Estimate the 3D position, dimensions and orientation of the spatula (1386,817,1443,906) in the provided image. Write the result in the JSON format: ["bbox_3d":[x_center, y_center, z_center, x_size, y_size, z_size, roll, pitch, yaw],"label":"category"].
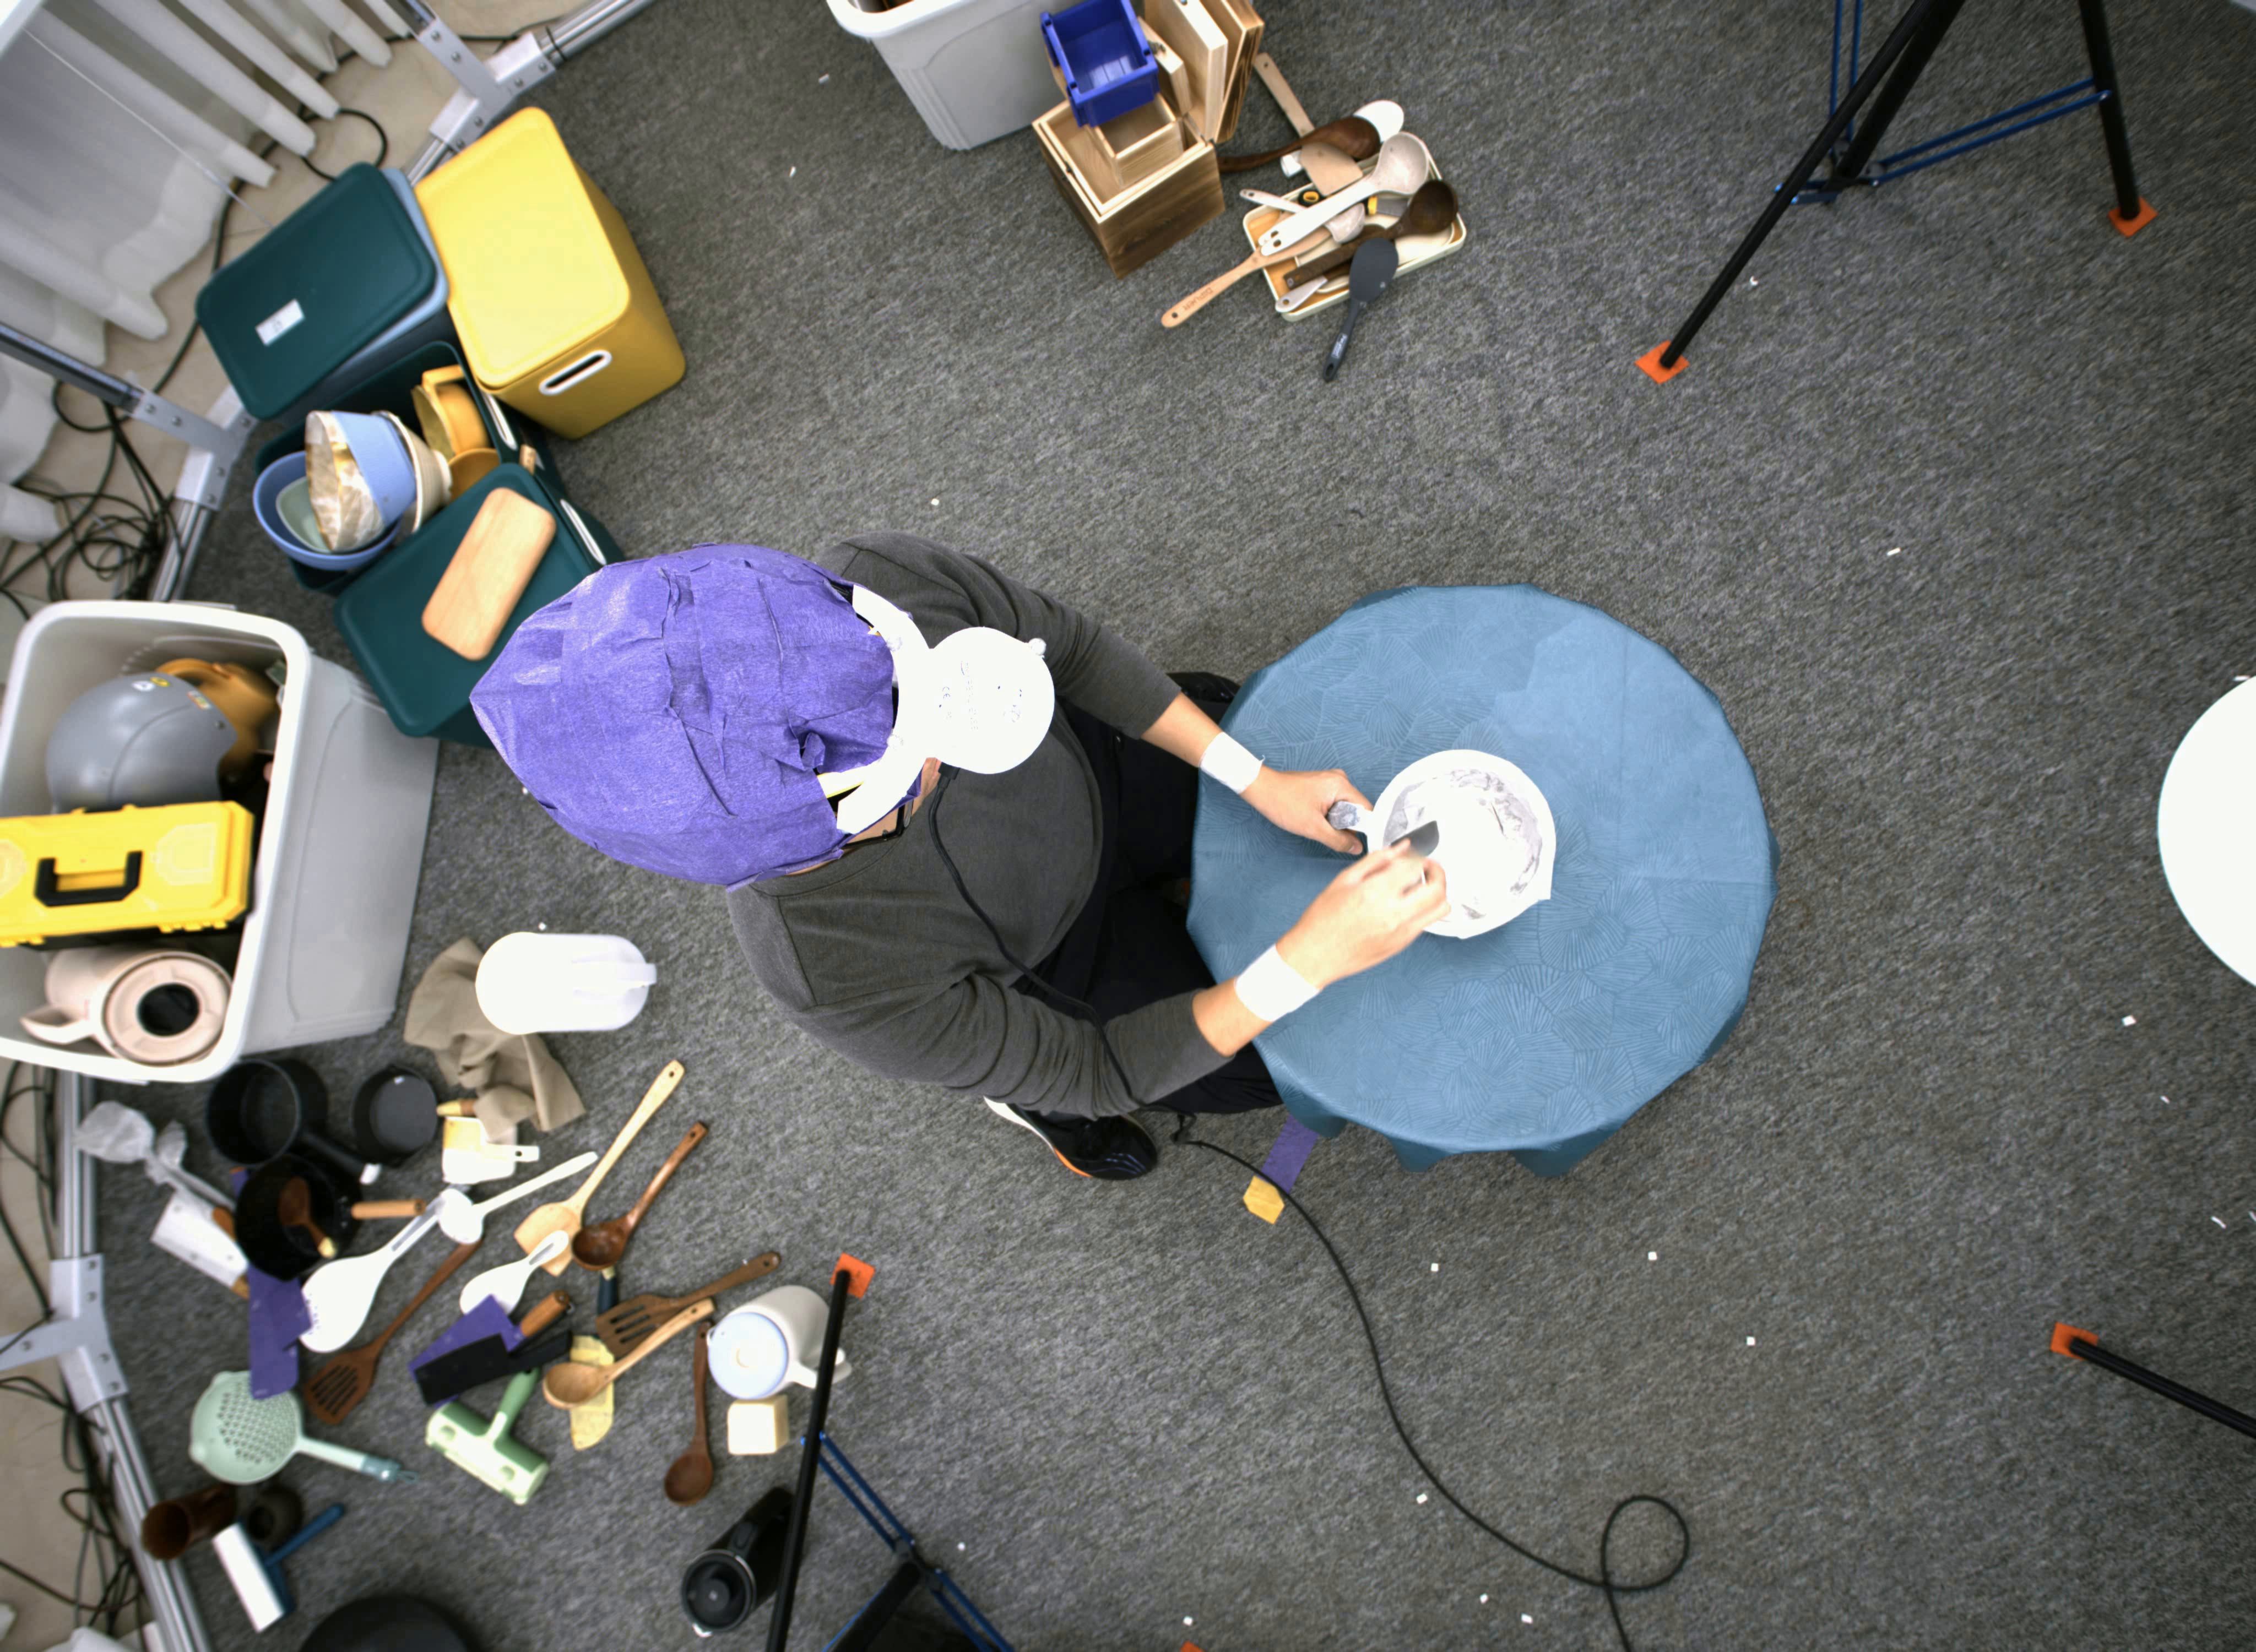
[{"bbox_3d":[0.262,0.029,1.266,0.059,0.284,0.032,-31,90,17],"label":"spatula"}]

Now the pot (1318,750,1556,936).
[{"bbox_3d":[0.305,0.013,1.388,0.234,0.137,0.178,13,88,11],"label":"pot"}]
